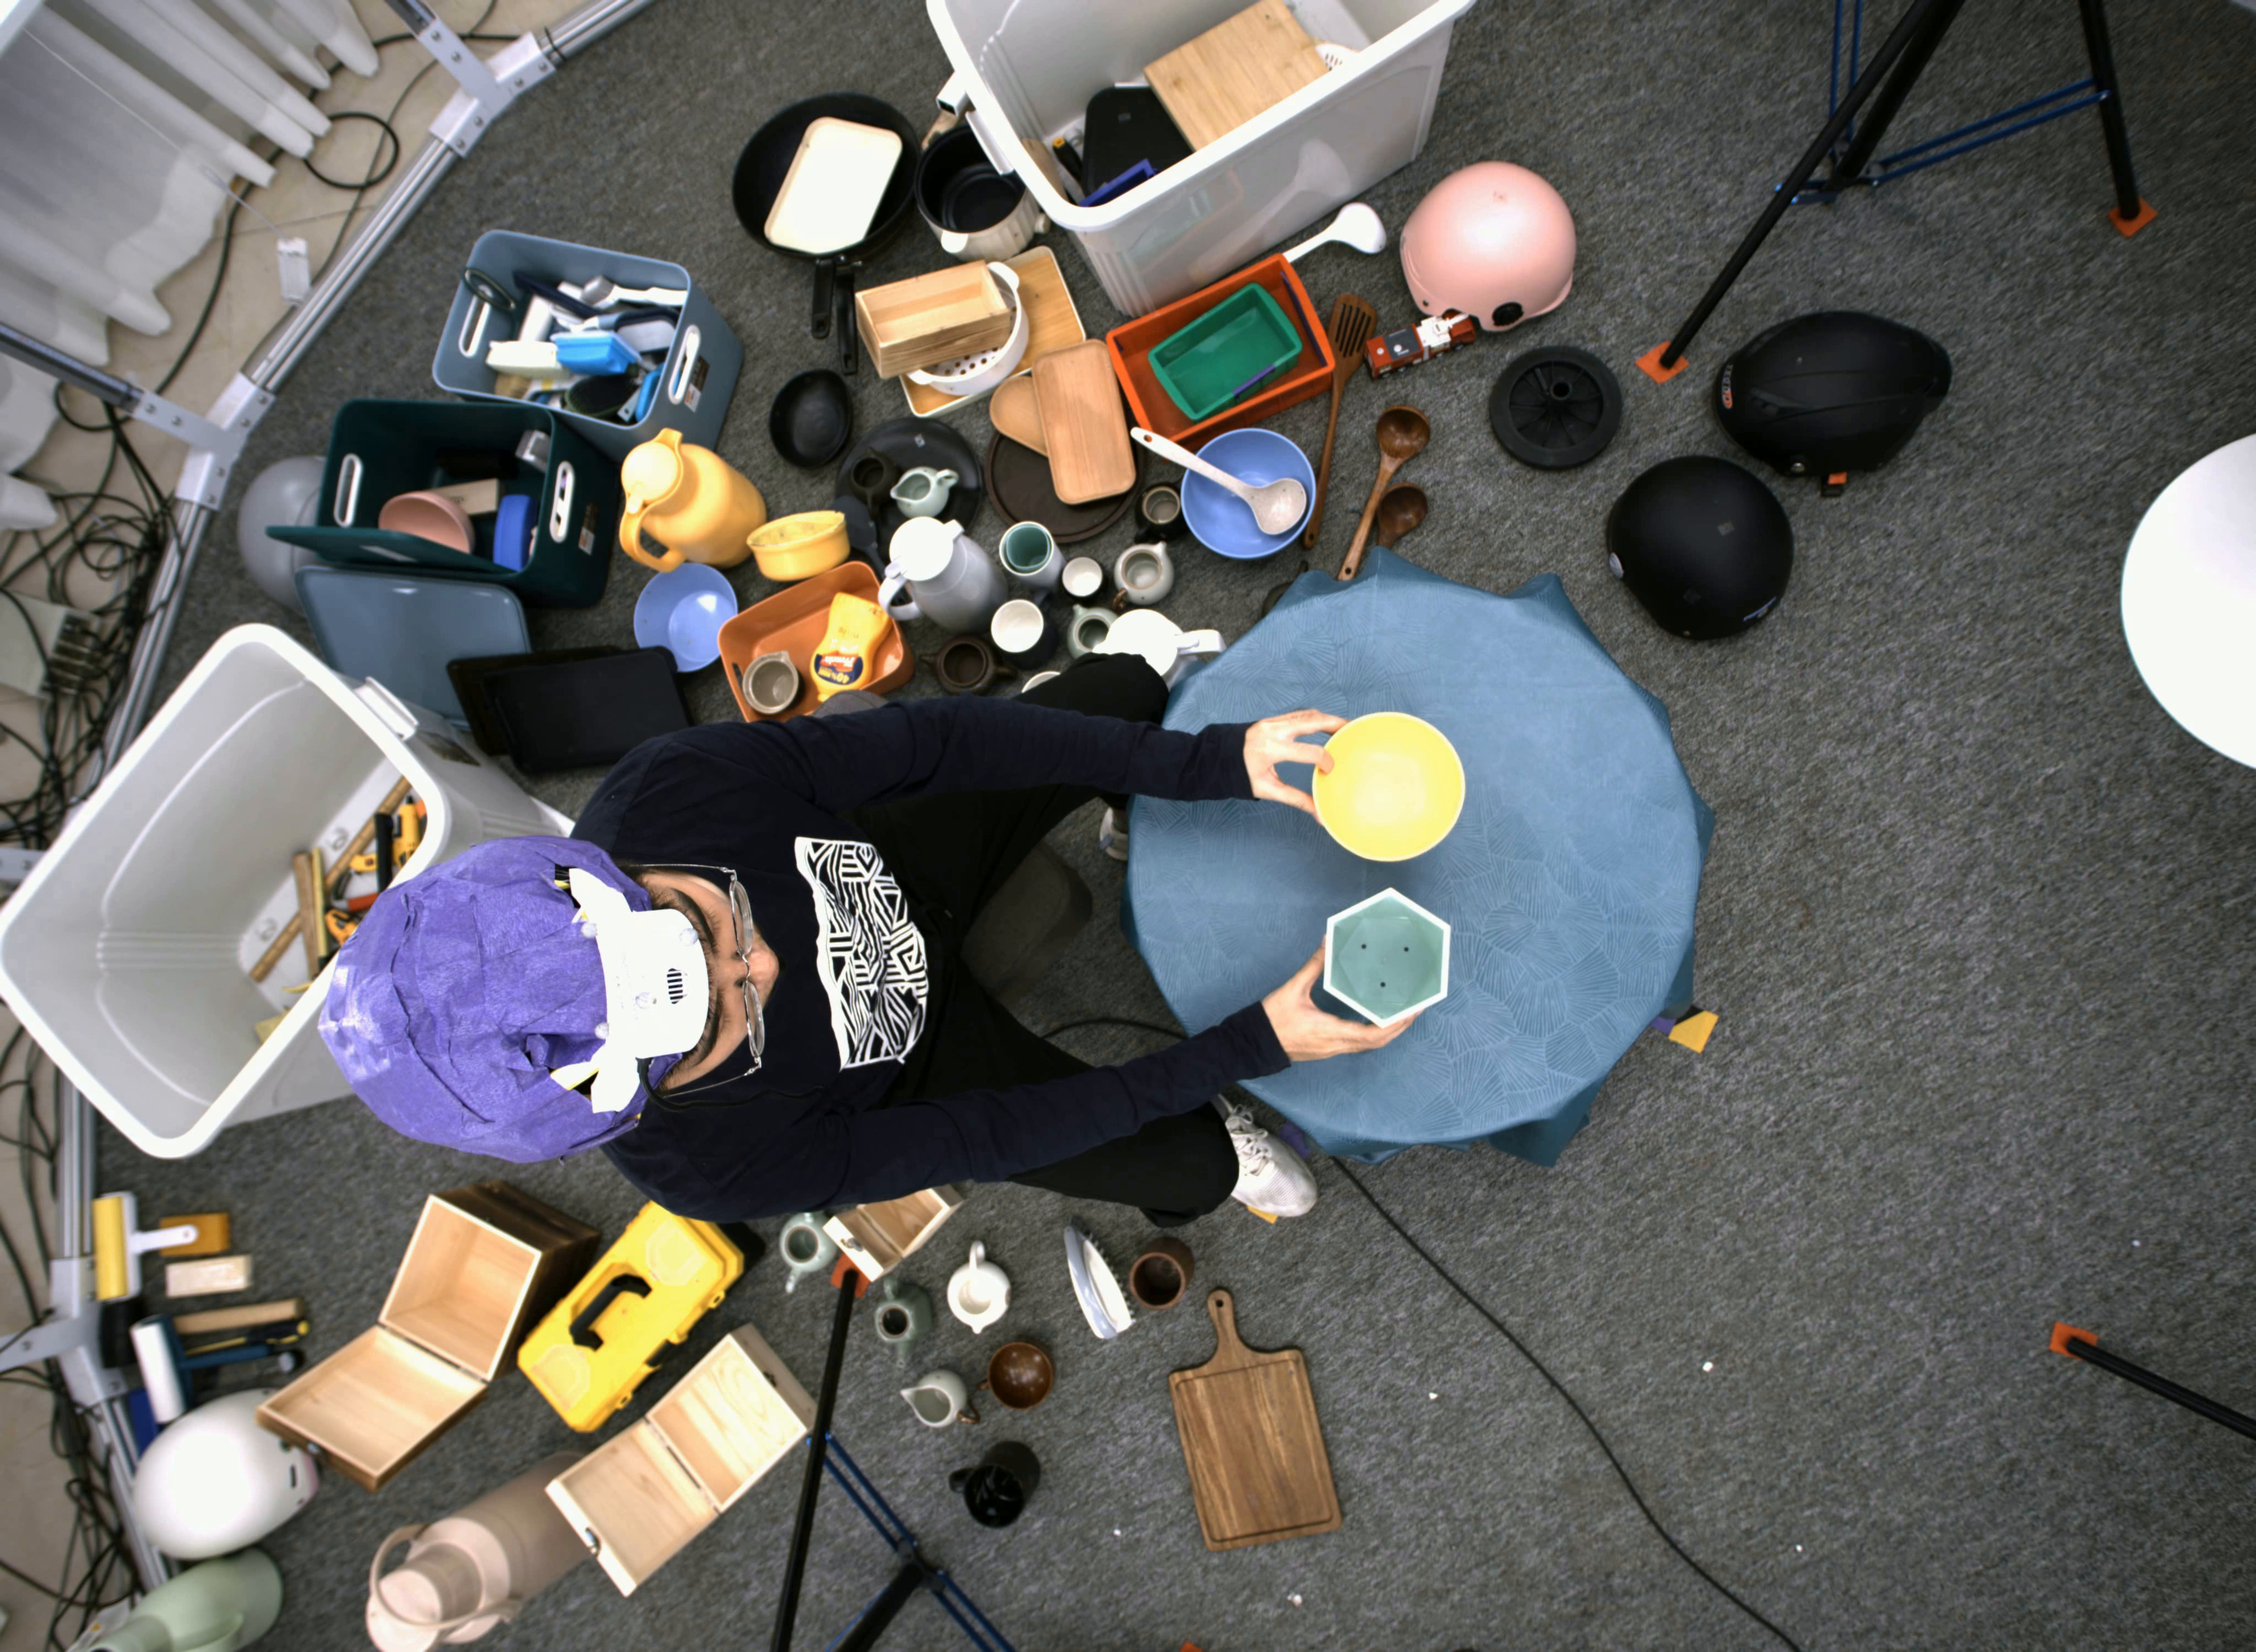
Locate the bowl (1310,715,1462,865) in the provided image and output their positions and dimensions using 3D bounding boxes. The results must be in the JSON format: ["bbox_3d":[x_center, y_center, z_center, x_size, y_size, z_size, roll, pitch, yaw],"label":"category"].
[{"bbox_3d":[0.249,-0.032,1.339,0.146,0.060,0.144,-1,84,8],"label":"bowl"}]

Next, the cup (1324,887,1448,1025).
[{"bbox_3d":[0.257,0.131,1.375,0.115,0.163,0.130,0,84,11],"label":"cup"}]
